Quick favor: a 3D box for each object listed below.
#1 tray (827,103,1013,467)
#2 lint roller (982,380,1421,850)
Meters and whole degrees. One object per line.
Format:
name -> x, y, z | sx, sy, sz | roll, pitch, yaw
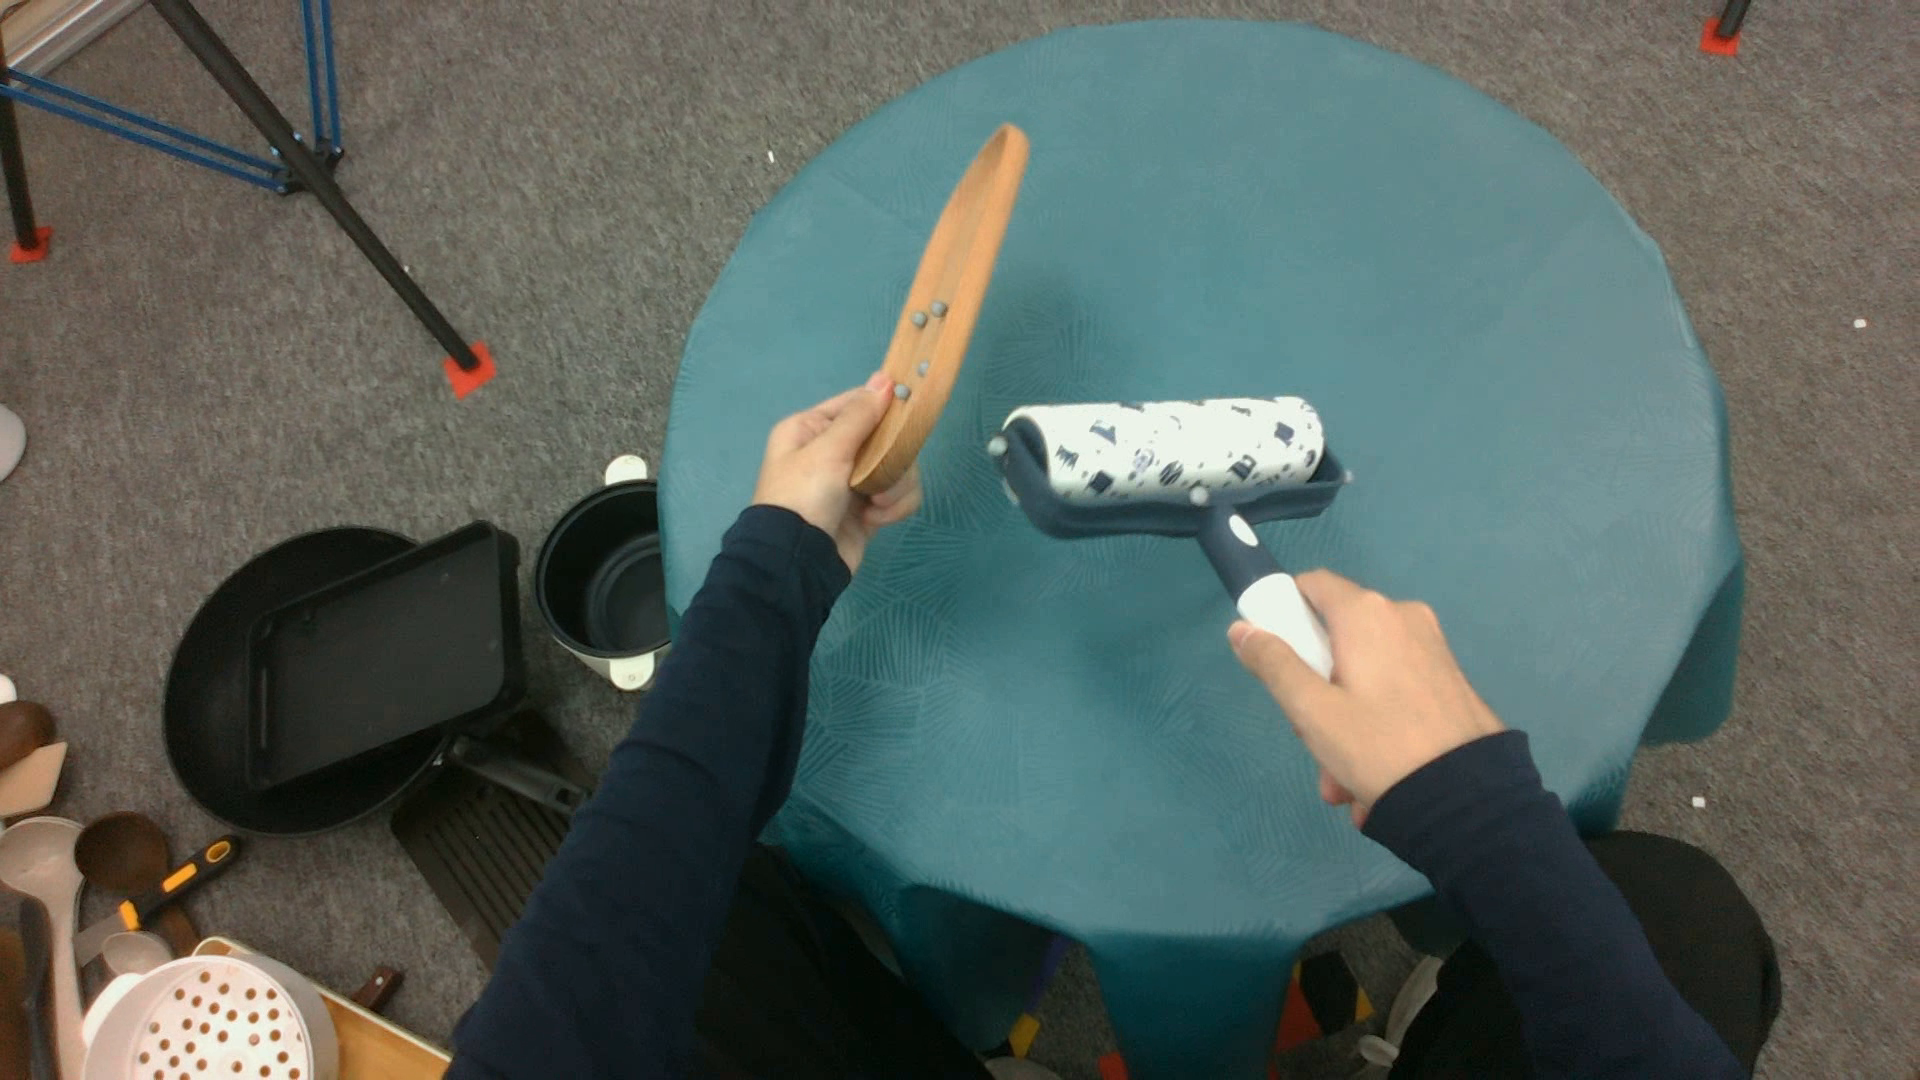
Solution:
tray -> -0.019, -0.135, 0.713 | 0.020, 0.101, 0.232 | 30, 56, -19
lint roller -> 0.132, 0.020, 0.604 | 0.177, 0.050, 0.247 | -5, 50, -31
